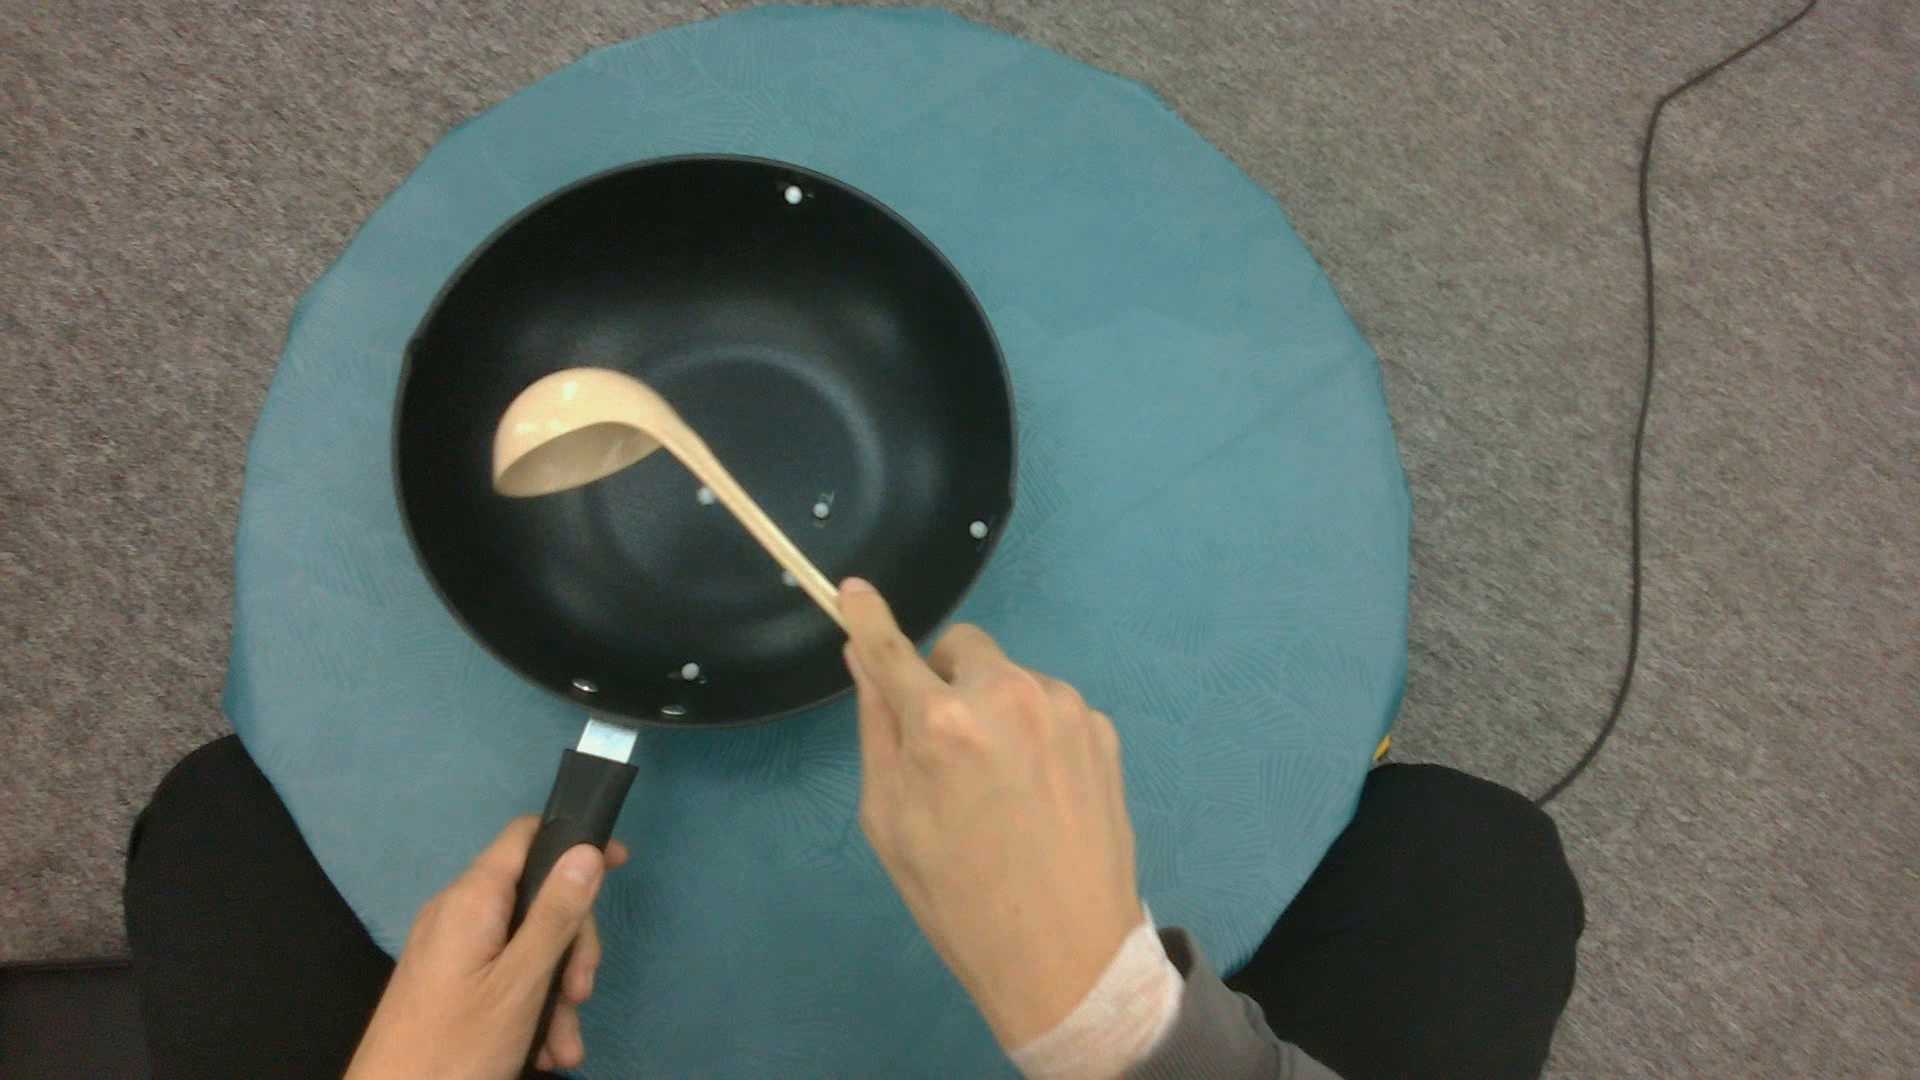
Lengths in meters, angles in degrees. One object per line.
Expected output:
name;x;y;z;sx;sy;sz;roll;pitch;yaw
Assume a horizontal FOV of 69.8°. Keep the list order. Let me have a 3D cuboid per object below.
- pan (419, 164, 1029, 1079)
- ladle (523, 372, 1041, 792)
pan;-0.136;0.045;0.659;0.288;0.086;0.464;16;76;0
ladle;-0.077;0.030;0.535;0.254;0.072;0.072;45;110;20
